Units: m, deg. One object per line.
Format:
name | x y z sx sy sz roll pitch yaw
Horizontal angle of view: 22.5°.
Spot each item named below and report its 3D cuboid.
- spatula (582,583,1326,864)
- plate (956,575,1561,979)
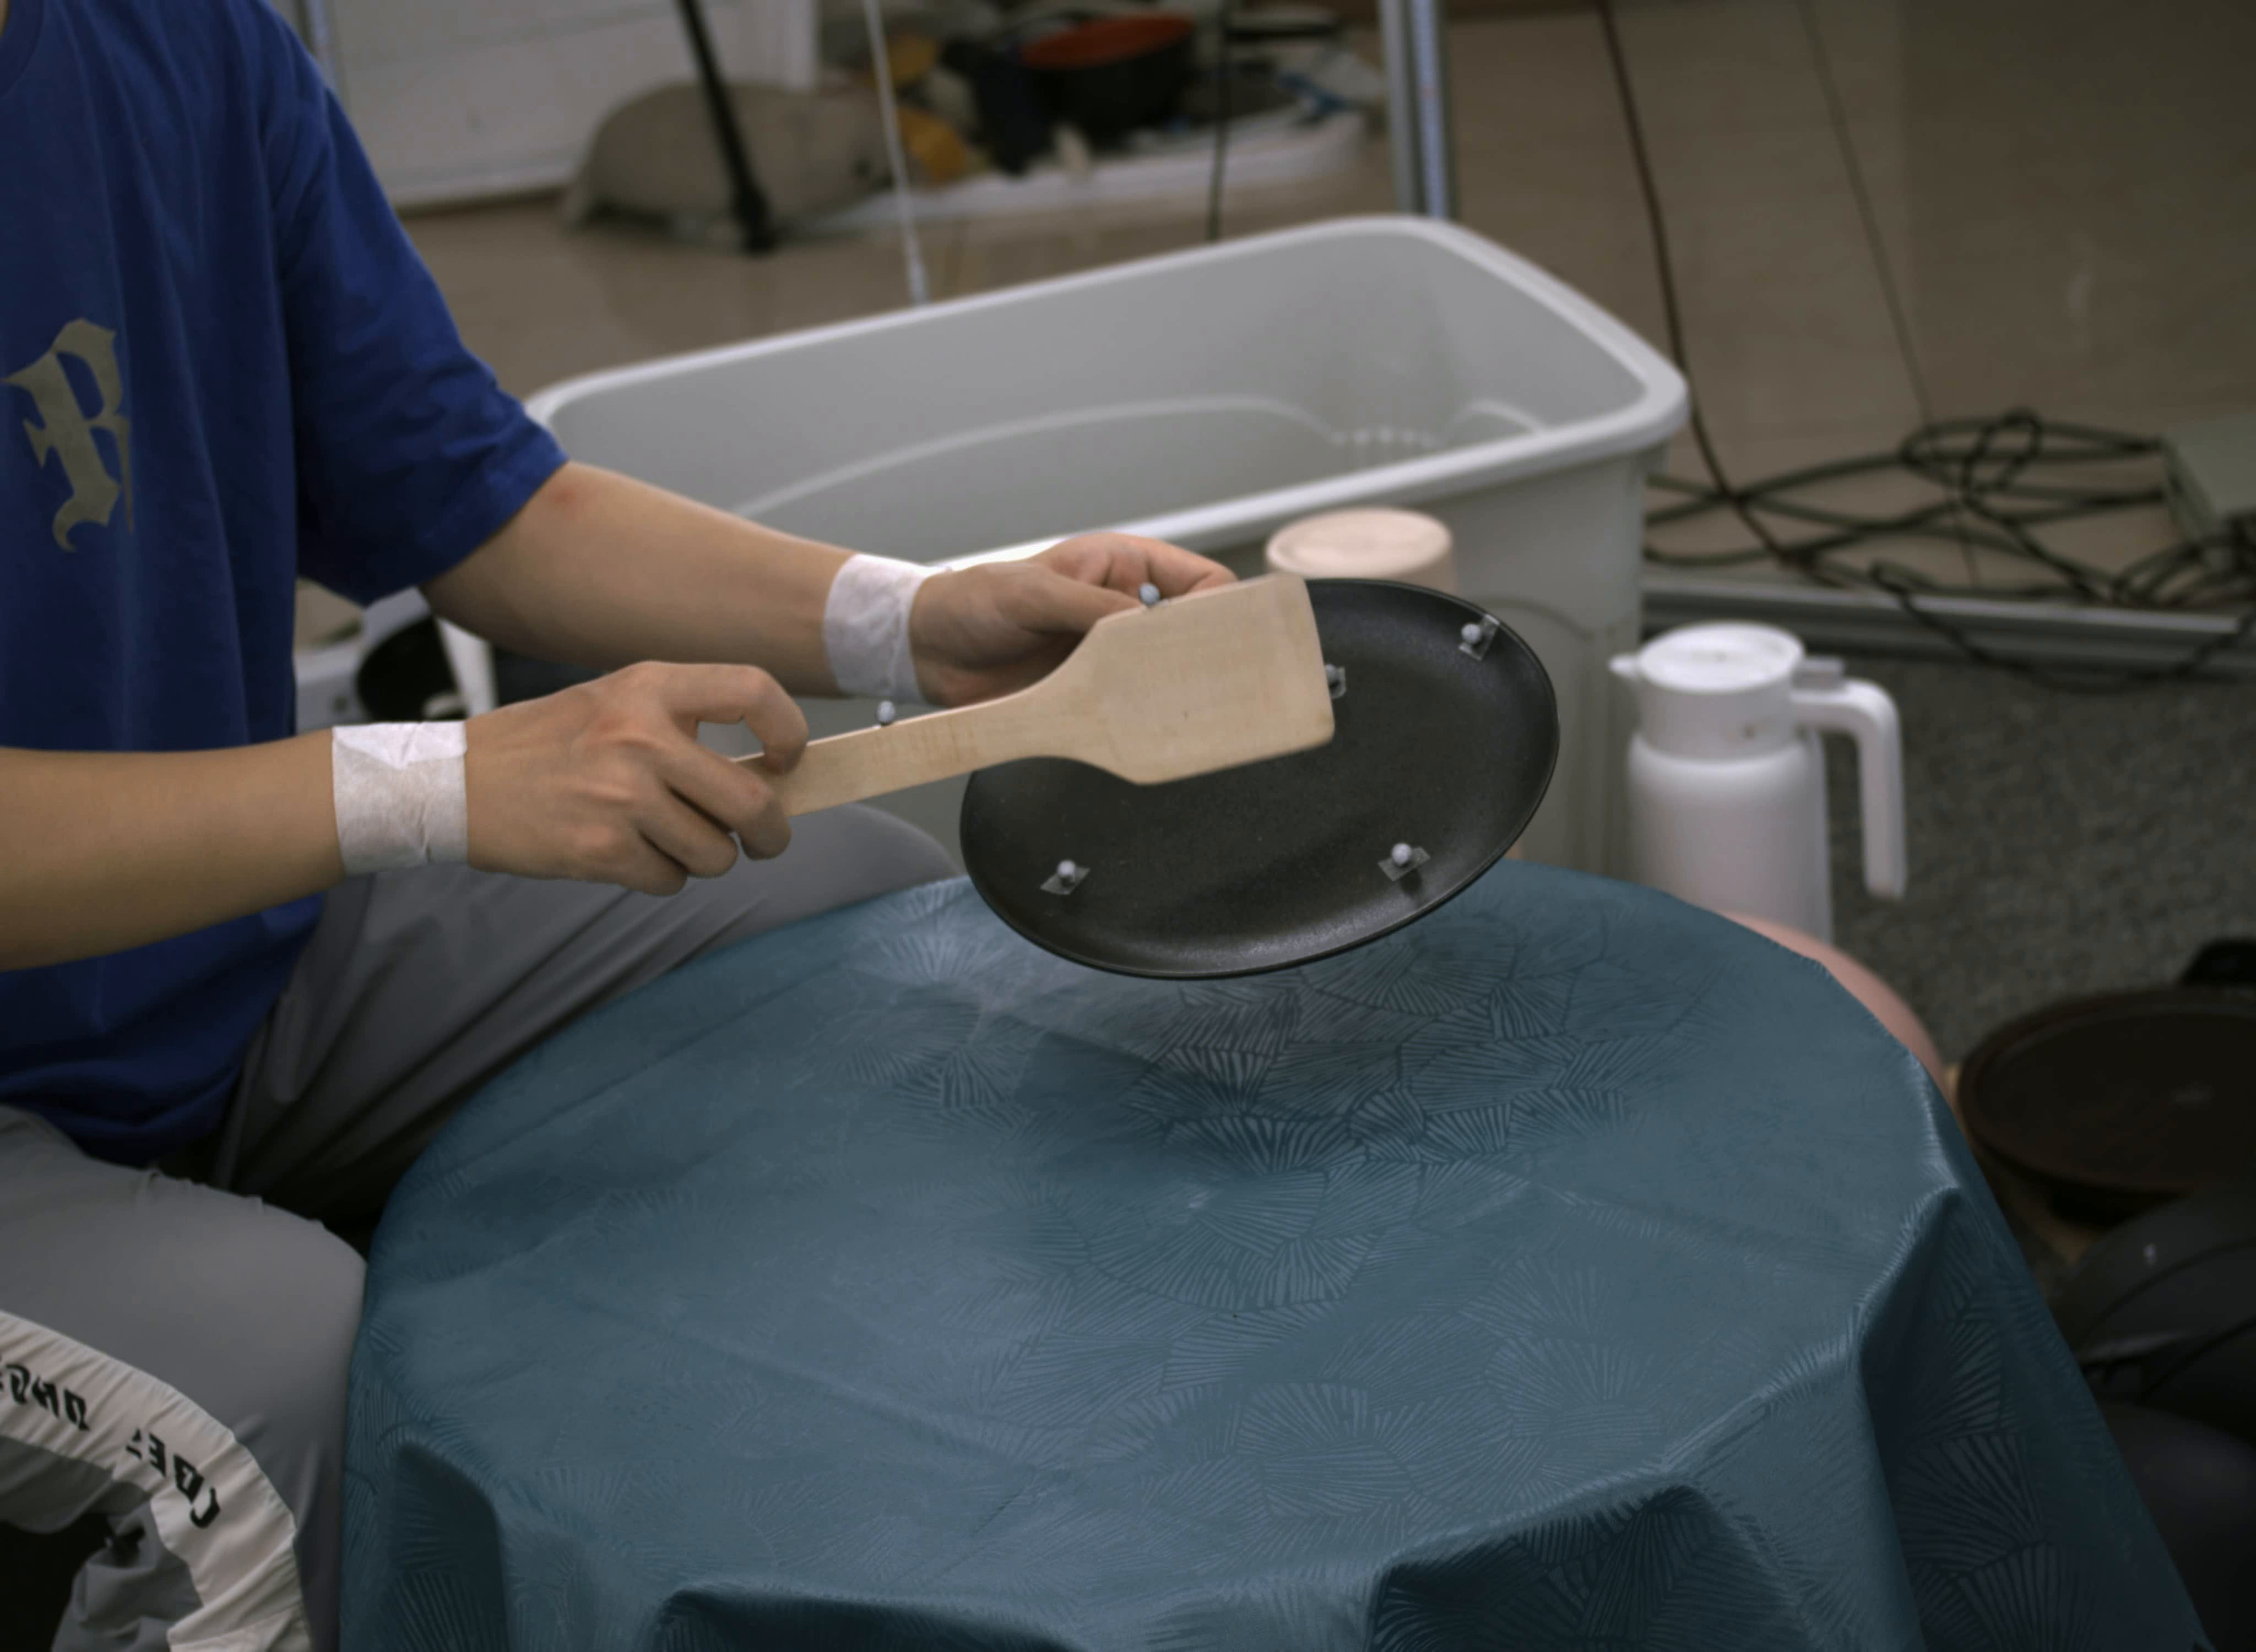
spatula | -0.068 -0.031 2.188 0.292 0.073 0.010 -13 15 -7
plate | 0.053 -0.015 2.237 0.244 0.024 0.240 -10 39 9
